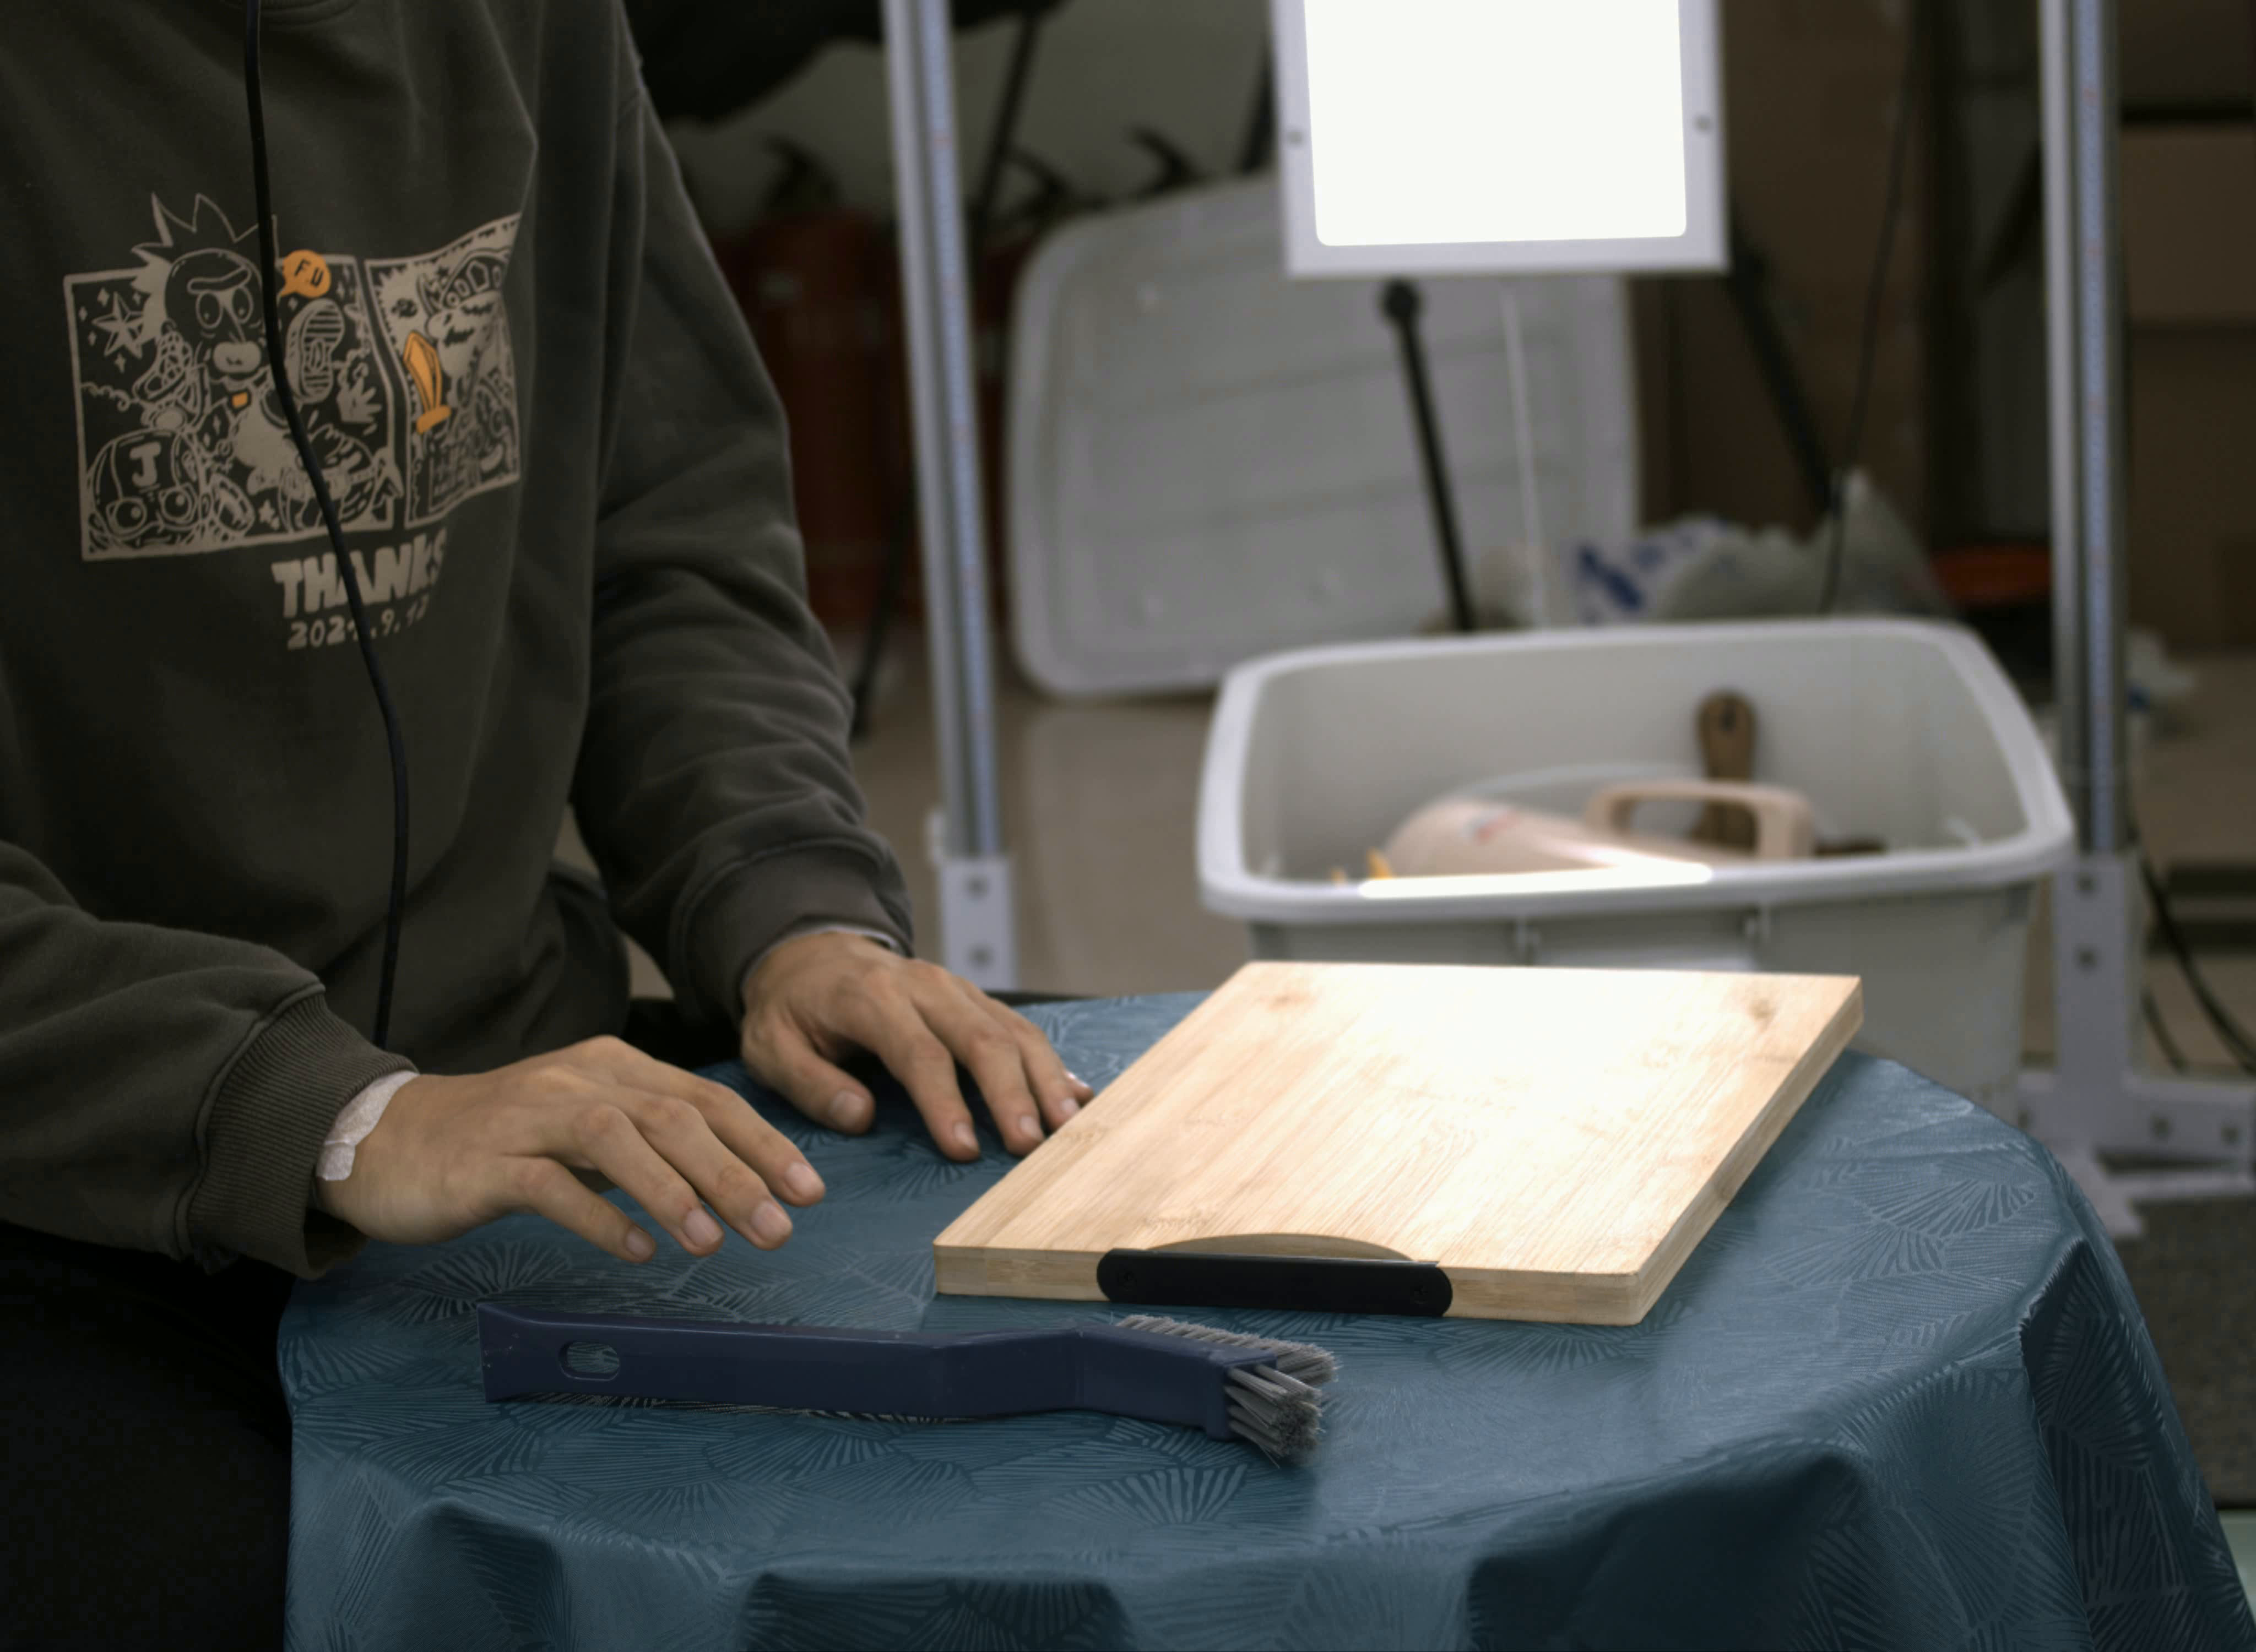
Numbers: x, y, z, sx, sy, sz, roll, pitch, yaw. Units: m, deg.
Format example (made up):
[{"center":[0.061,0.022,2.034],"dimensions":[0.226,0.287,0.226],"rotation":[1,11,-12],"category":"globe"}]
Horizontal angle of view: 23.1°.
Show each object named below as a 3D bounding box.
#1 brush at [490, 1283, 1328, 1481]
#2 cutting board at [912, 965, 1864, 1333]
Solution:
[{"center":[-0.075,0.168,1.690],"dimensions":[0.275,0.033,0.094],"rotation":[0,15,15],"category":"brush"},{"center":[0.101,0.107,1.907],"dimensions":[0.254,0.023,0.342],"rotation":[-1,14,20],"category":"cutting board"}]
